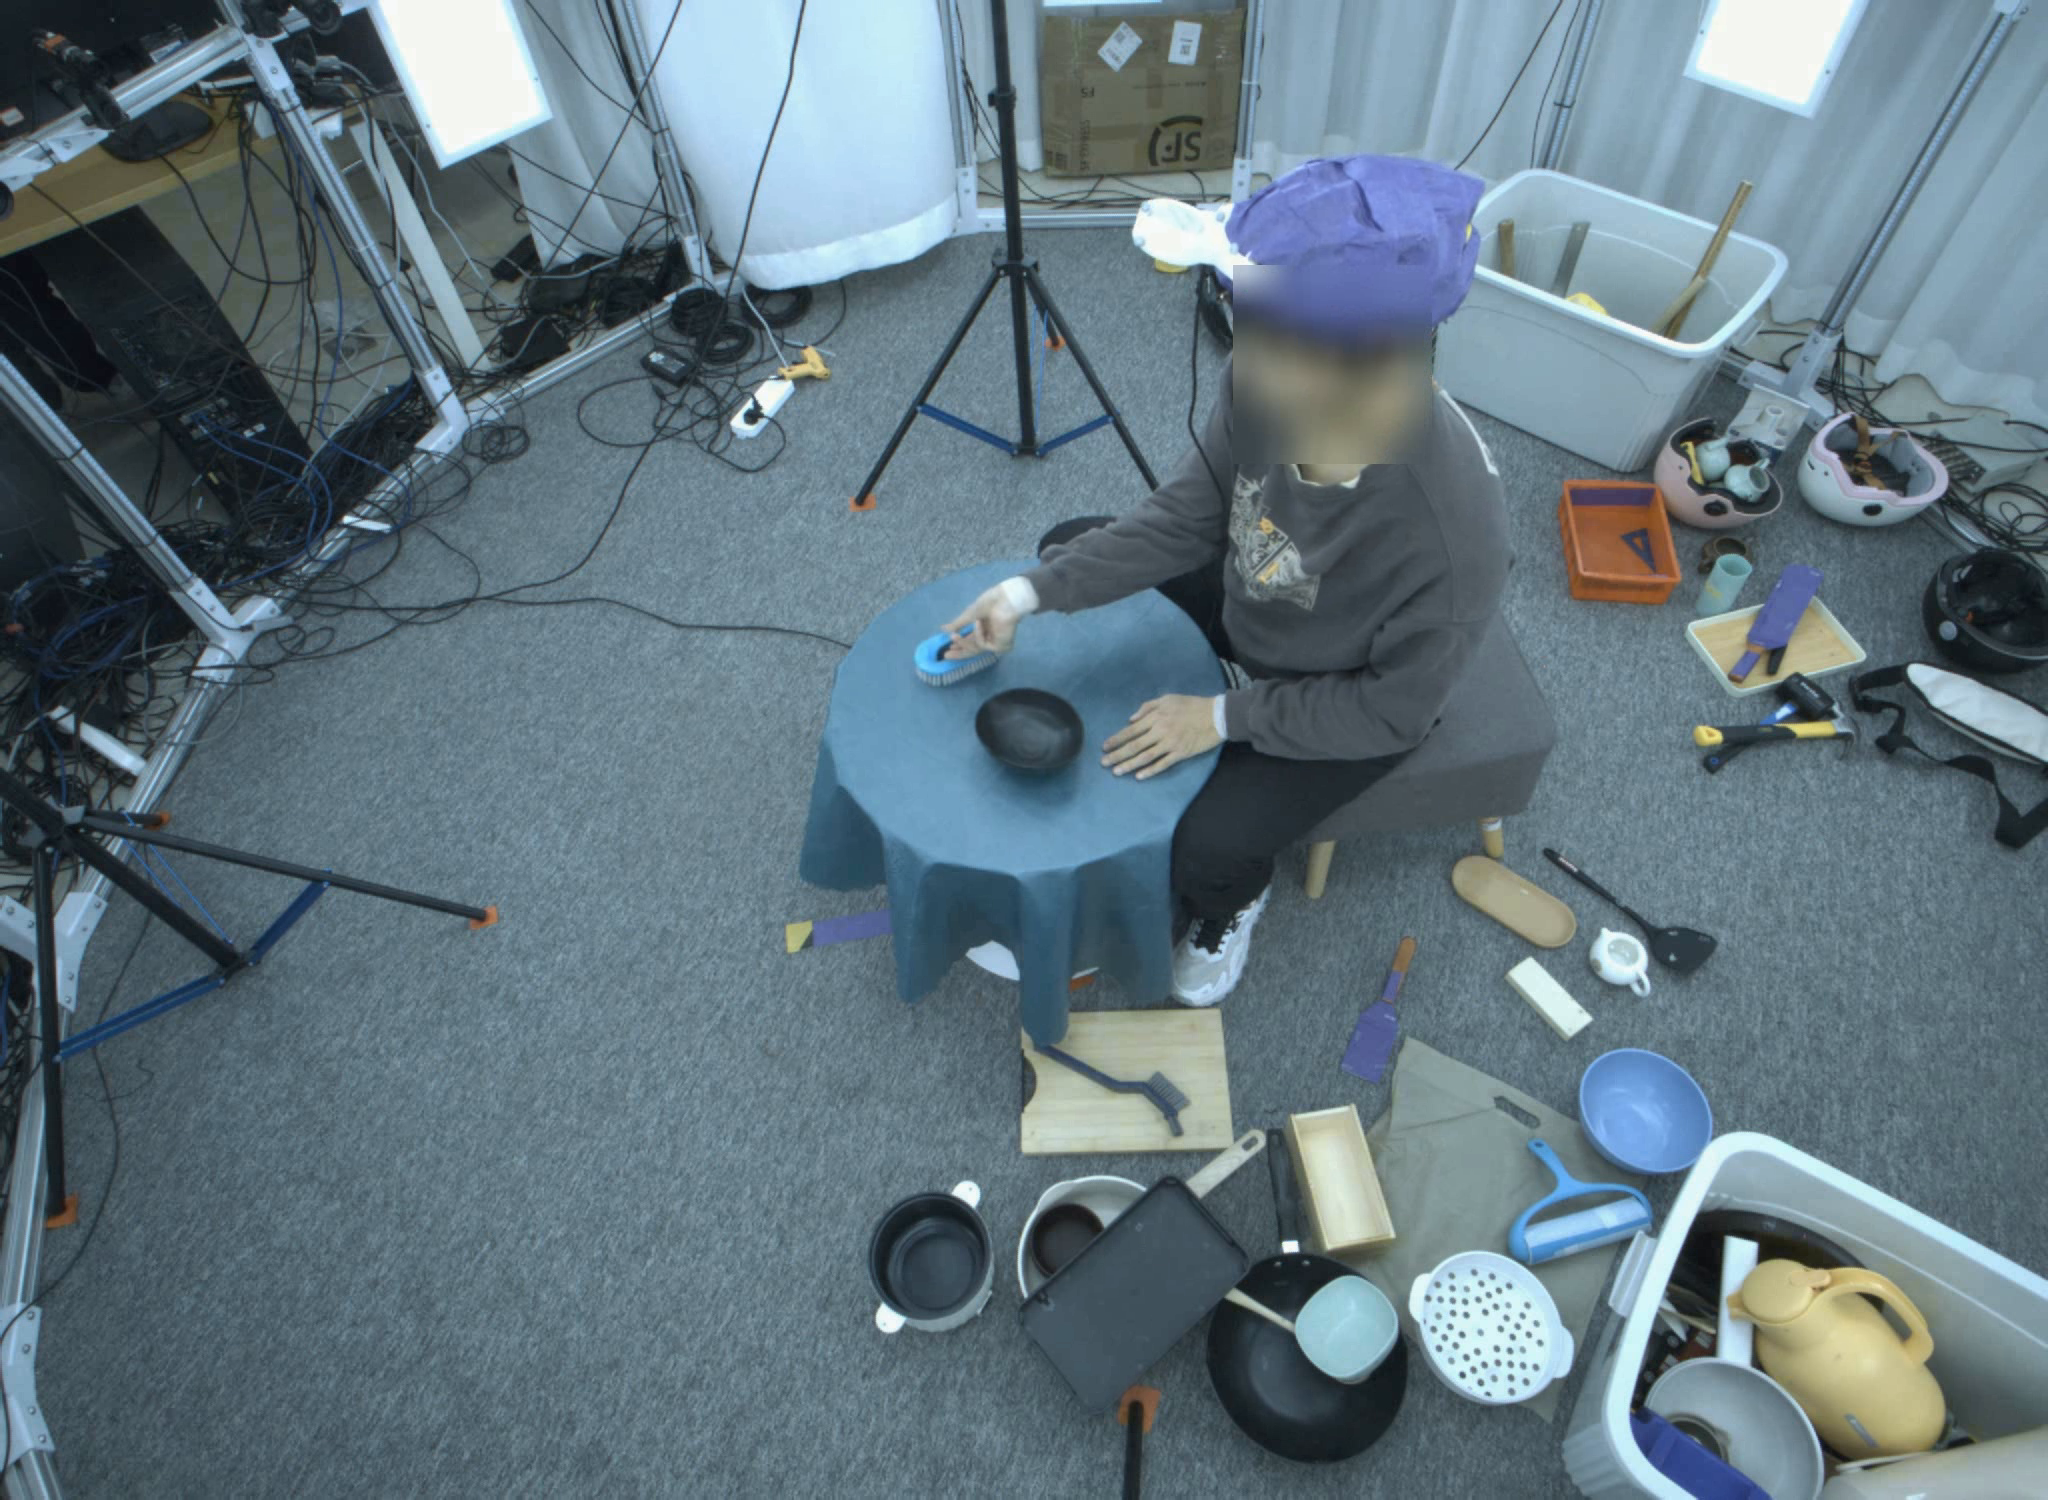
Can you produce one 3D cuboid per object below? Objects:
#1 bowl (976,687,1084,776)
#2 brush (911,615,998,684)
[{"bbox_3d":[0.008,-0.016,1.757,0.167,0.067,0.138,31,60,24],"label":"bowl"},{"bbox_3d":[-0.104,-0.161,1.863,0.143,0.064,0.083,-25,61,-14],"label":"brush"}]
